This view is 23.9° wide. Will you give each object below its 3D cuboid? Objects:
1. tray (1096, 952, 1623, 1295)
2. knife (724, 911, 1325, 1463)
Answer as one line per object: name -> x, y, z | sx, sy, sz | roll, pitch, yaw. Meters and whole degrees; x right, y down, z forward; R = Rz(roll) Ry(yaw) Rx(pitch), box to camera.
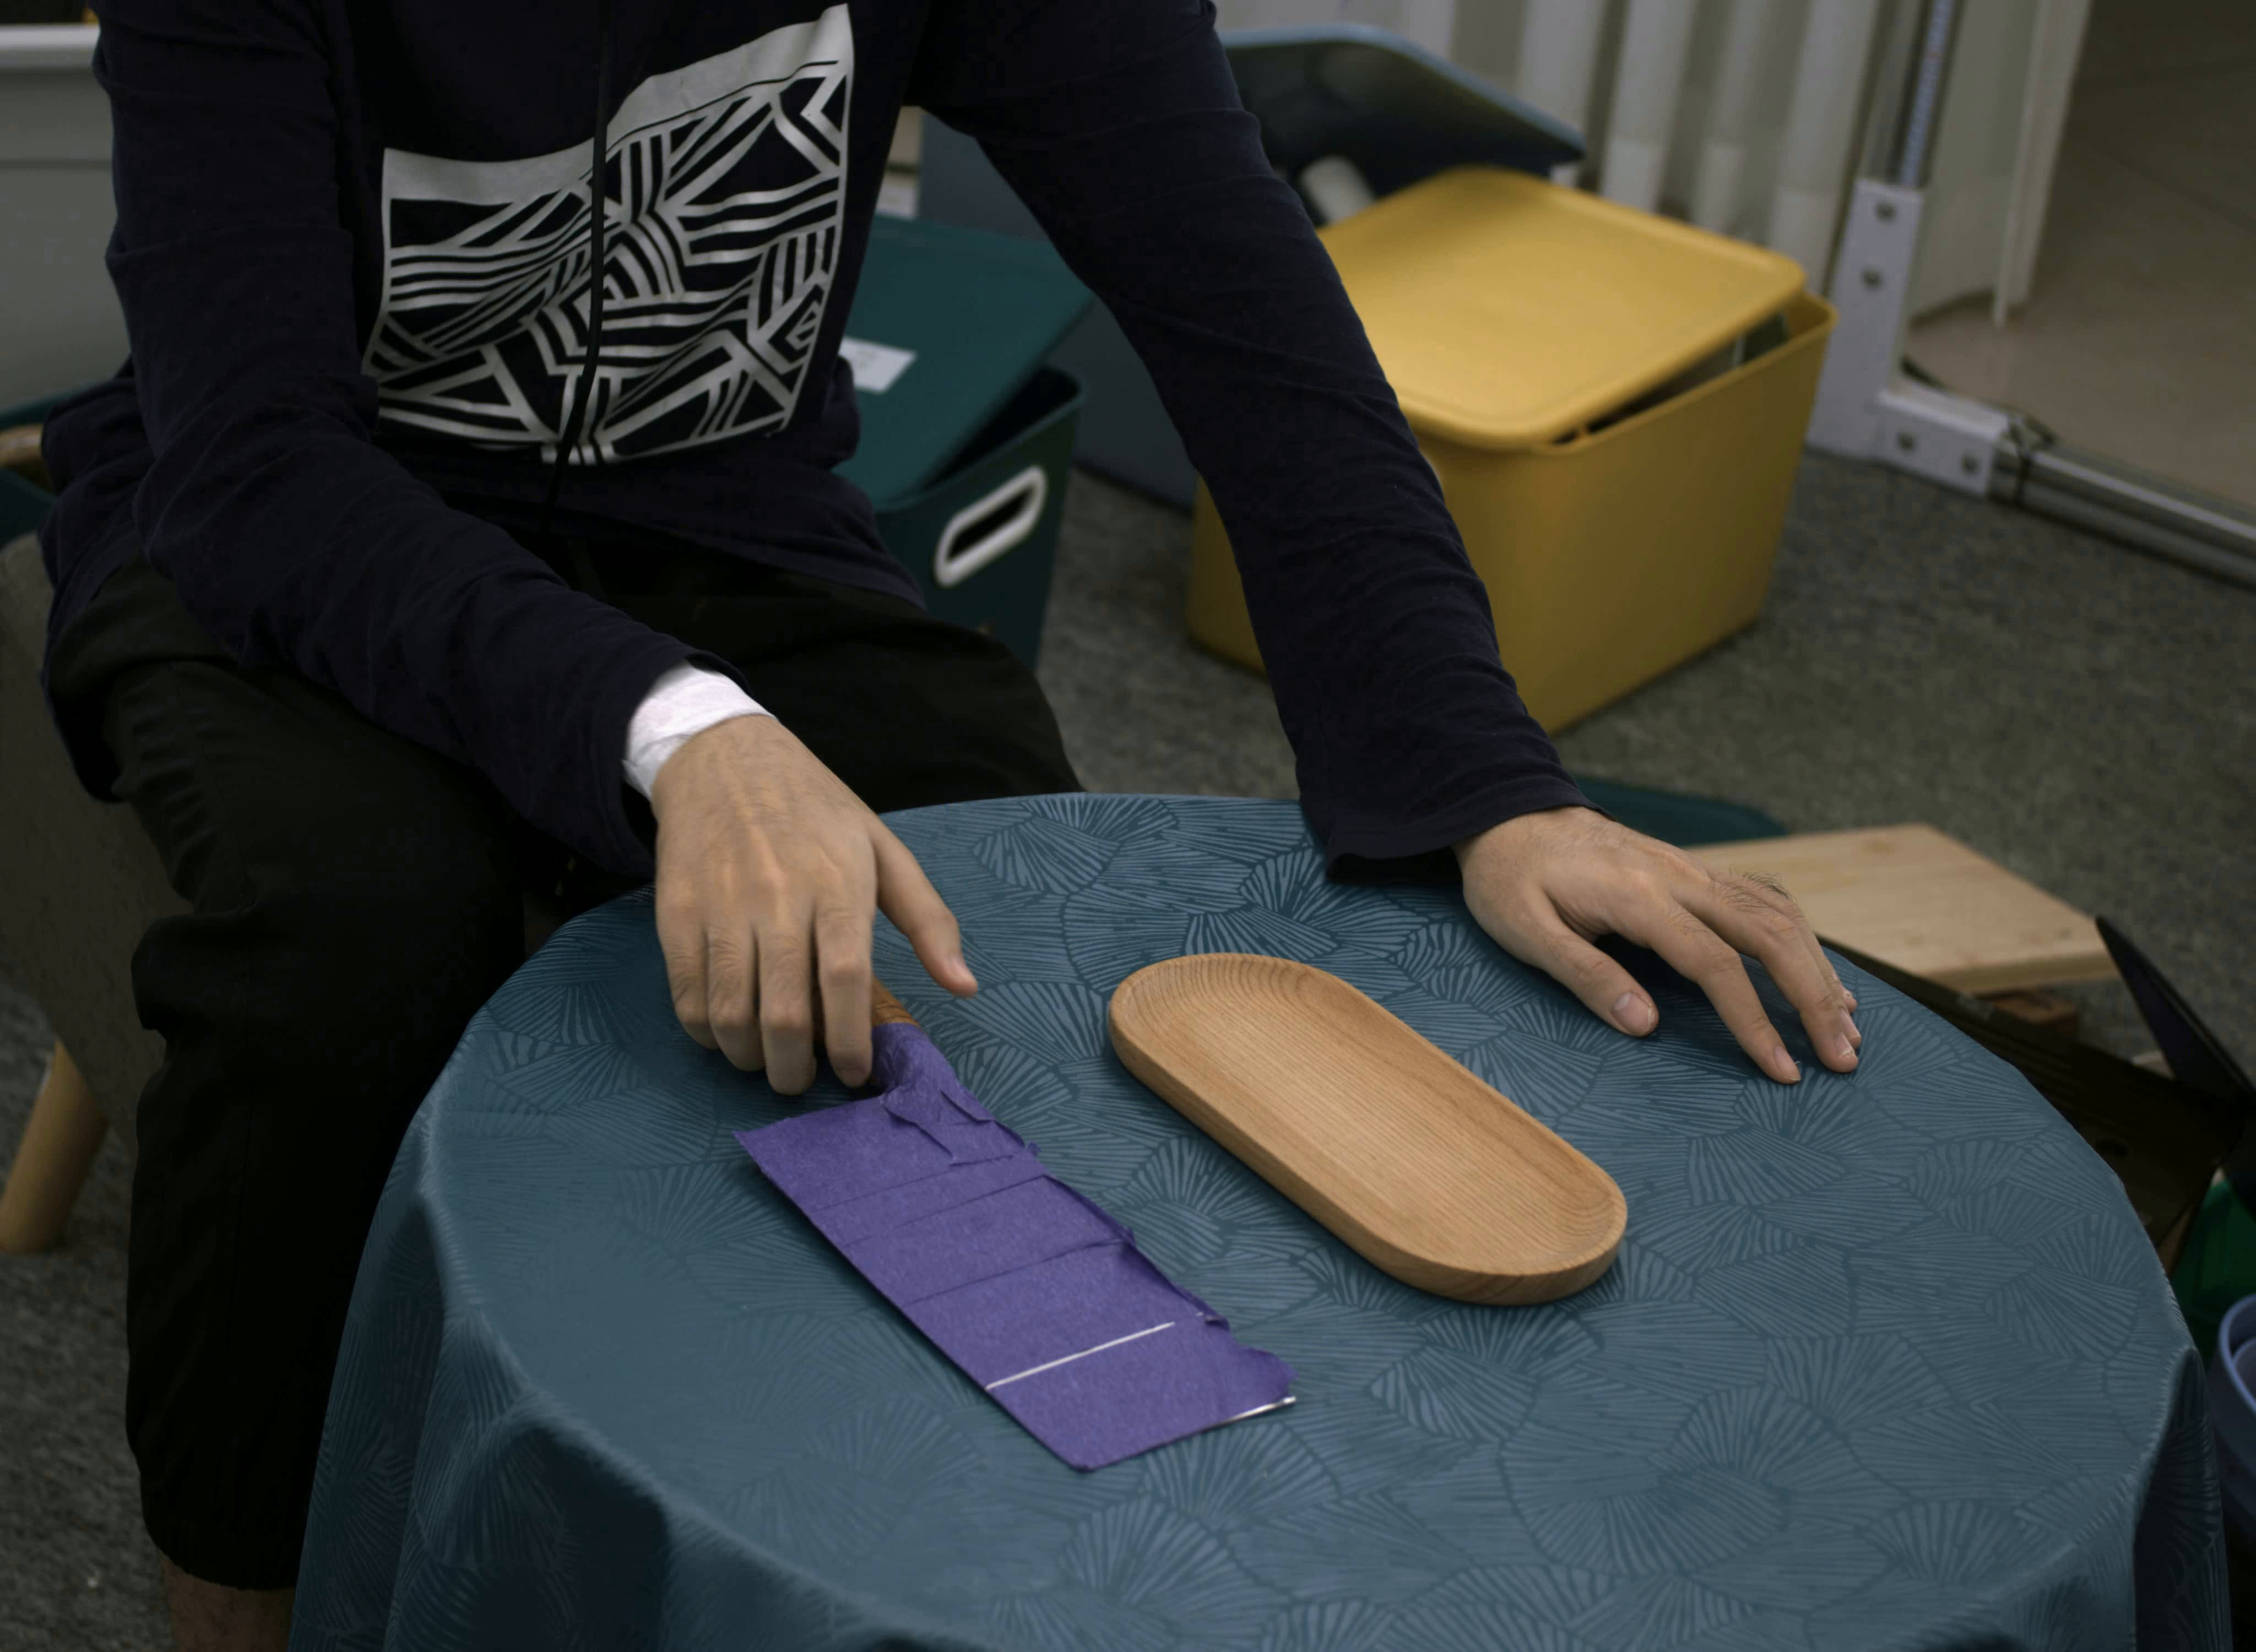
tray -> 0.078, 0.101, 1.849 | 0.101, 0.020, 0.233 | -13, 31, -35
knife -> -0.066, 0.116, 1.776 | 0.103, 0.032, 0.318 | -13, 33, -34
